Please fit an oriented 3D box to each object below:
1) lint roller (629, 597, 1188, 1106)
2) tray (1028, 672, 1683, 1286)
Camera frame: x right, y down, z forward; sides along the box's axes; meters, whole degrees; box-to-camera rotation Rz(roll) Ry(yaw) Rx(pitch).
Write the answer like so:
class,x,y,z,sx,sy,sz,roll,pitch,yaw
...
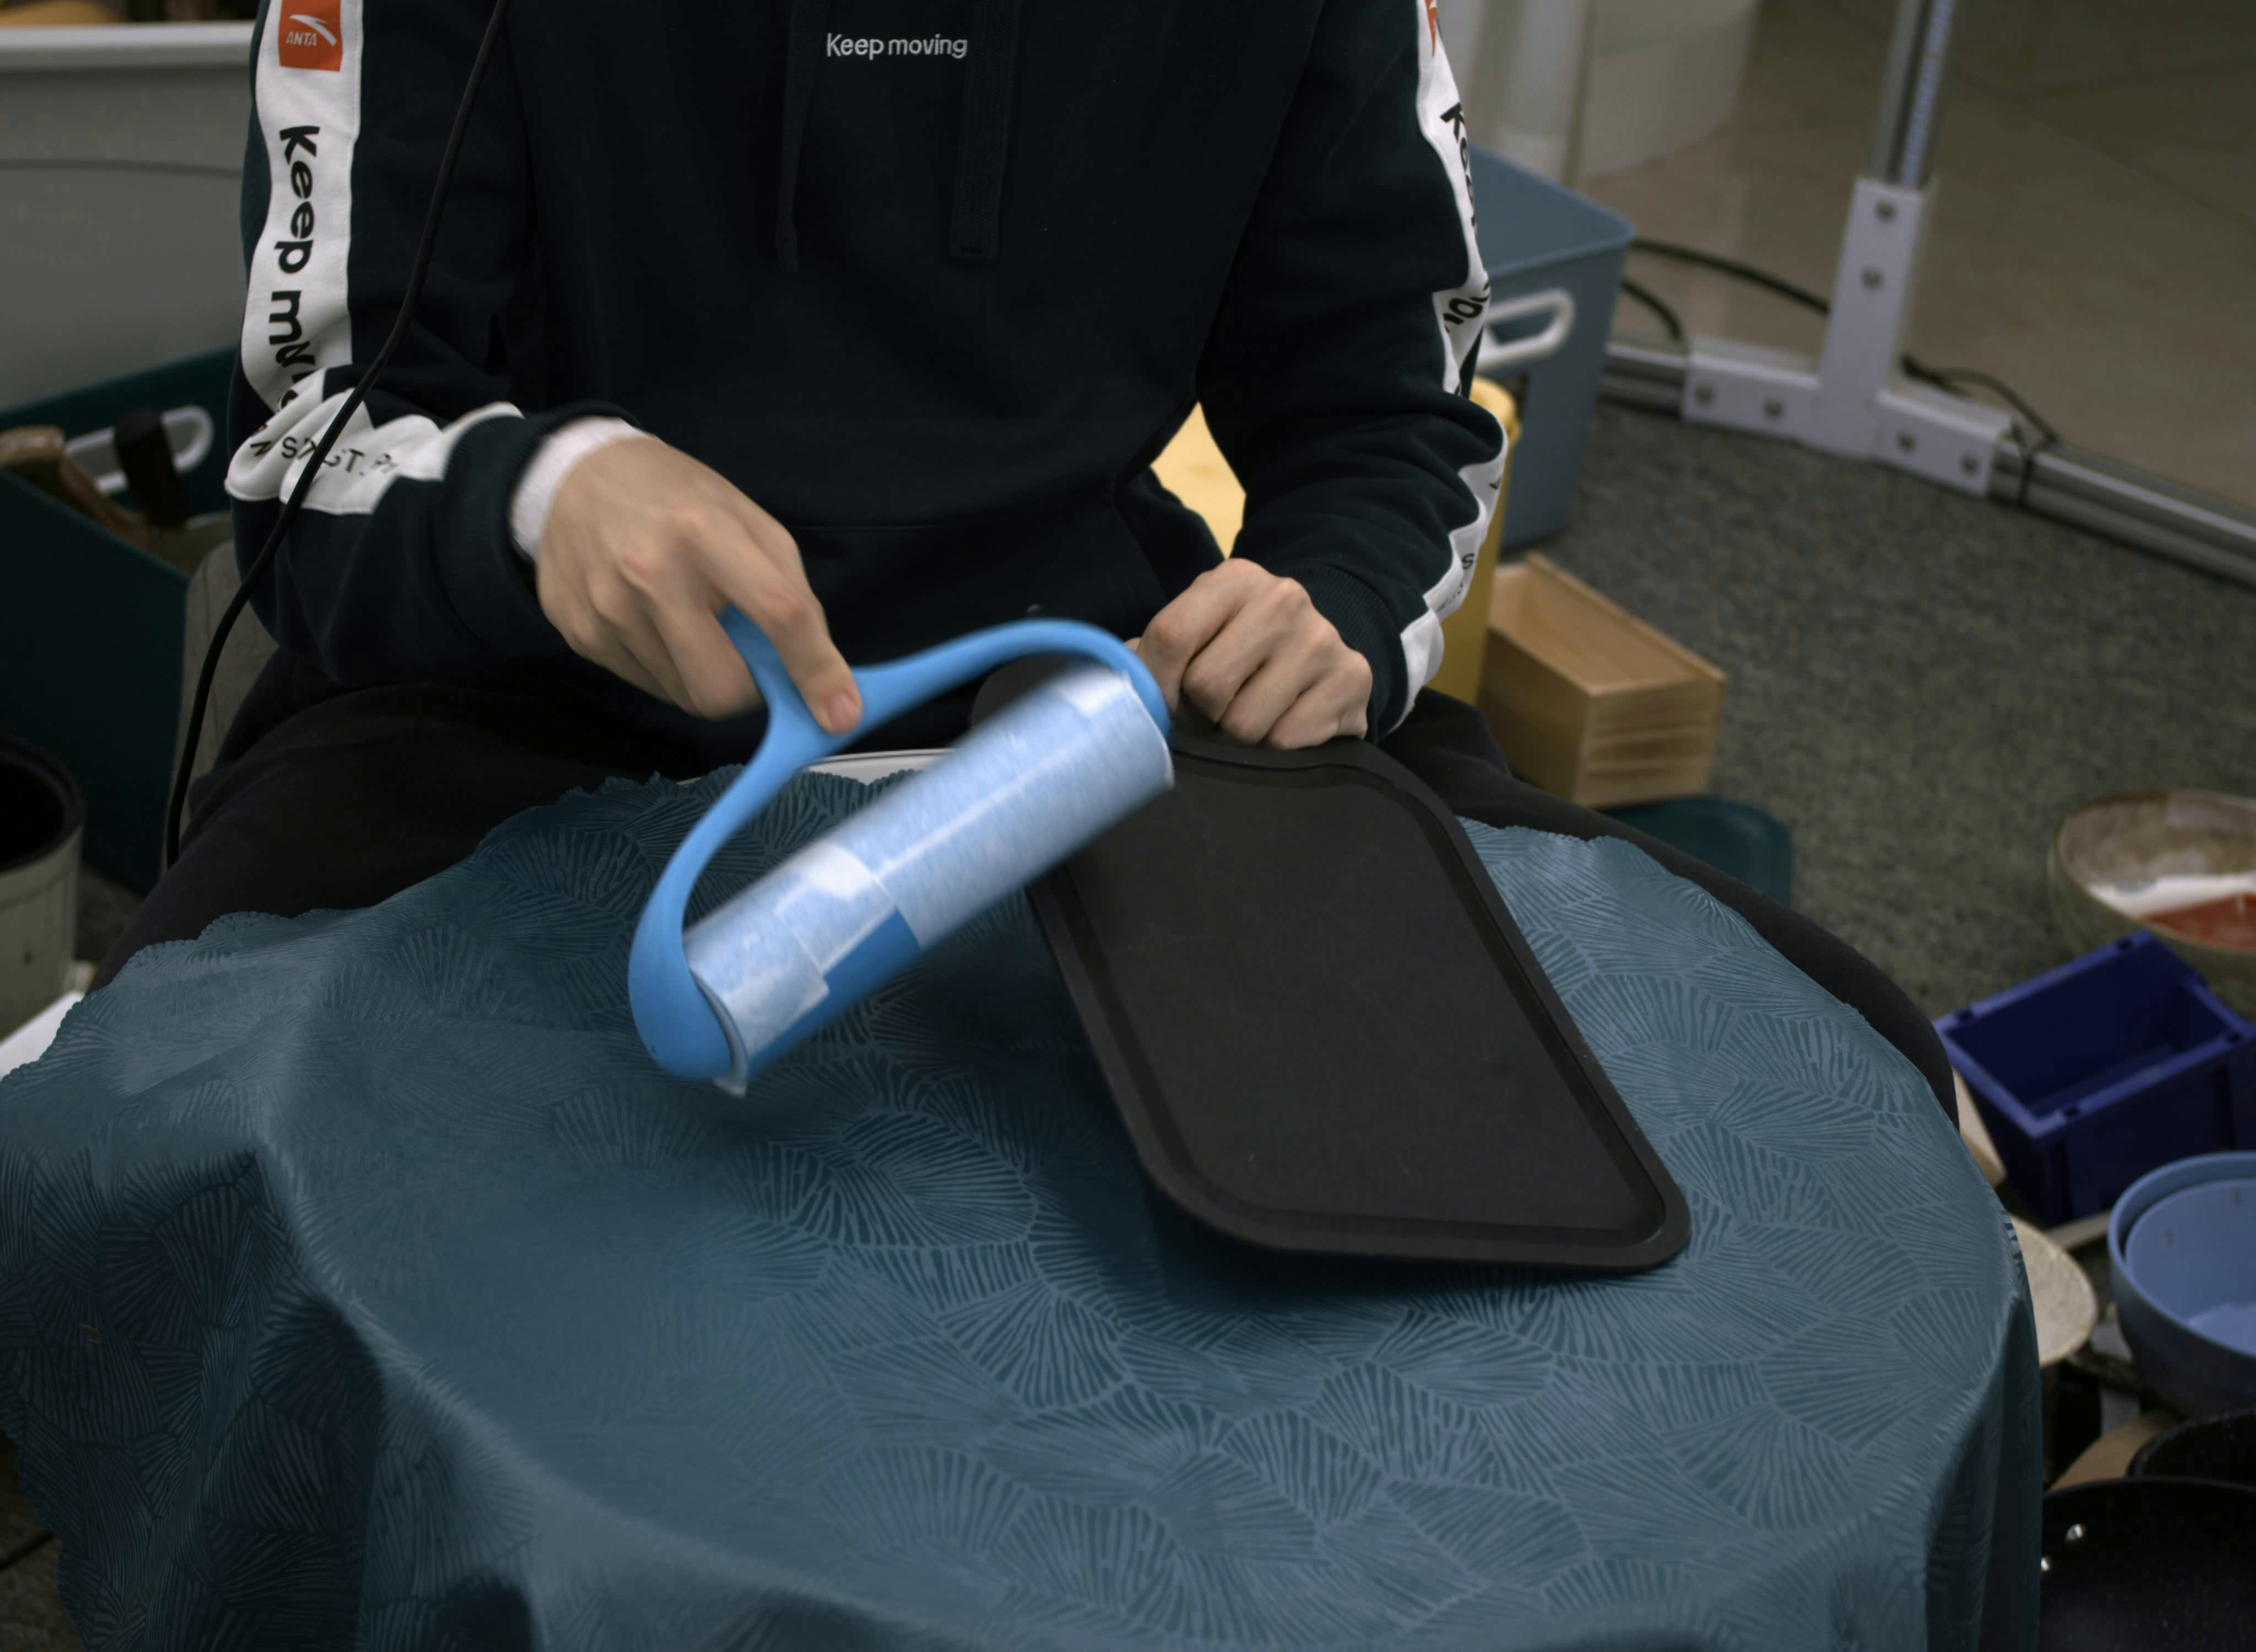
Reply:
class,x,y,z,sx,sy,sz,roll,pitch,yaw
lint roller,-0.109,-0.021,1.826,0.228,0.067,0.181,-37,75,-25
tray,0.063,0.044,1.872,0.209,0.010,0.328,7,36,-25
